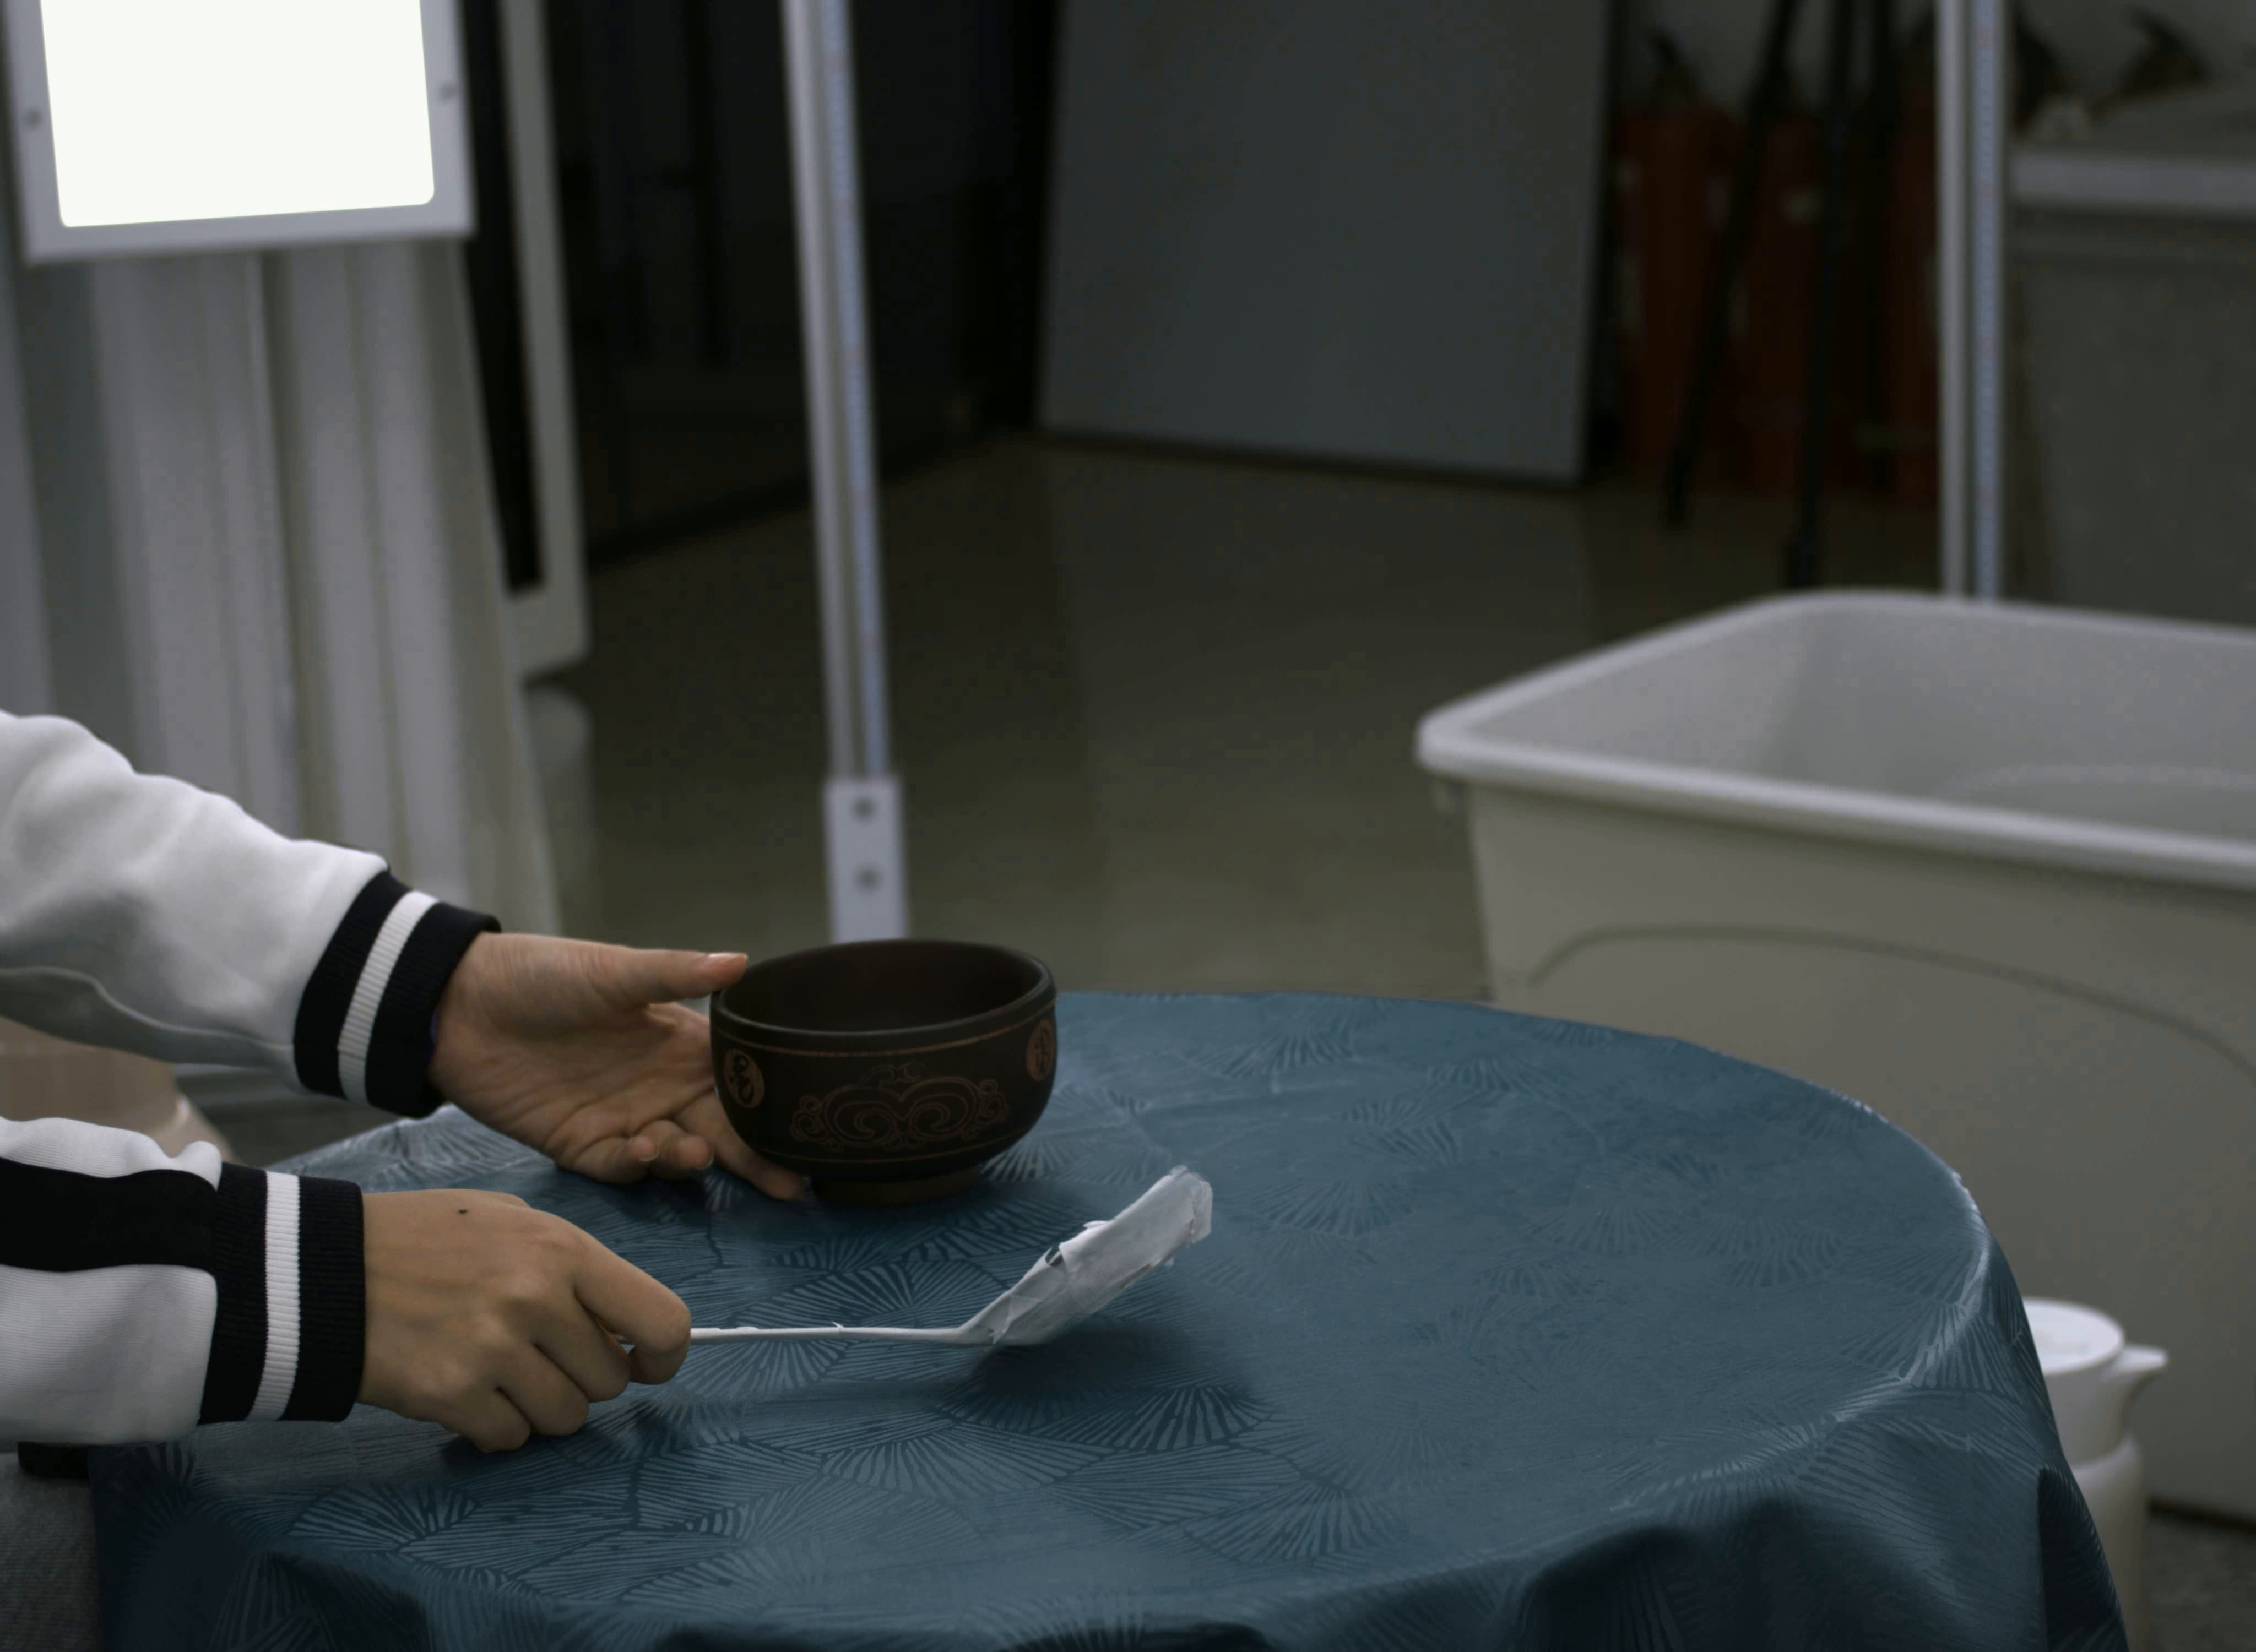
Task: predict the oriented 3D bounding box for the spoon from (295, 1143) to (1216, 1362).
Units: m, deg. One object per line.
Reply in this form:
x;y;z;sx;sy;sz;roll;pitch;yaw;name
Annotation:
-0.110;0.128;1.611;0.274;0.060;0.100;-1;-15;3;spoon

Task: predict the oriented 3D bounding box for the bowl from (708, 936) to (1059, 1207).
-0.080;0.085;1.789;0.116;0.070;0.118;-5;13;0;bowl
